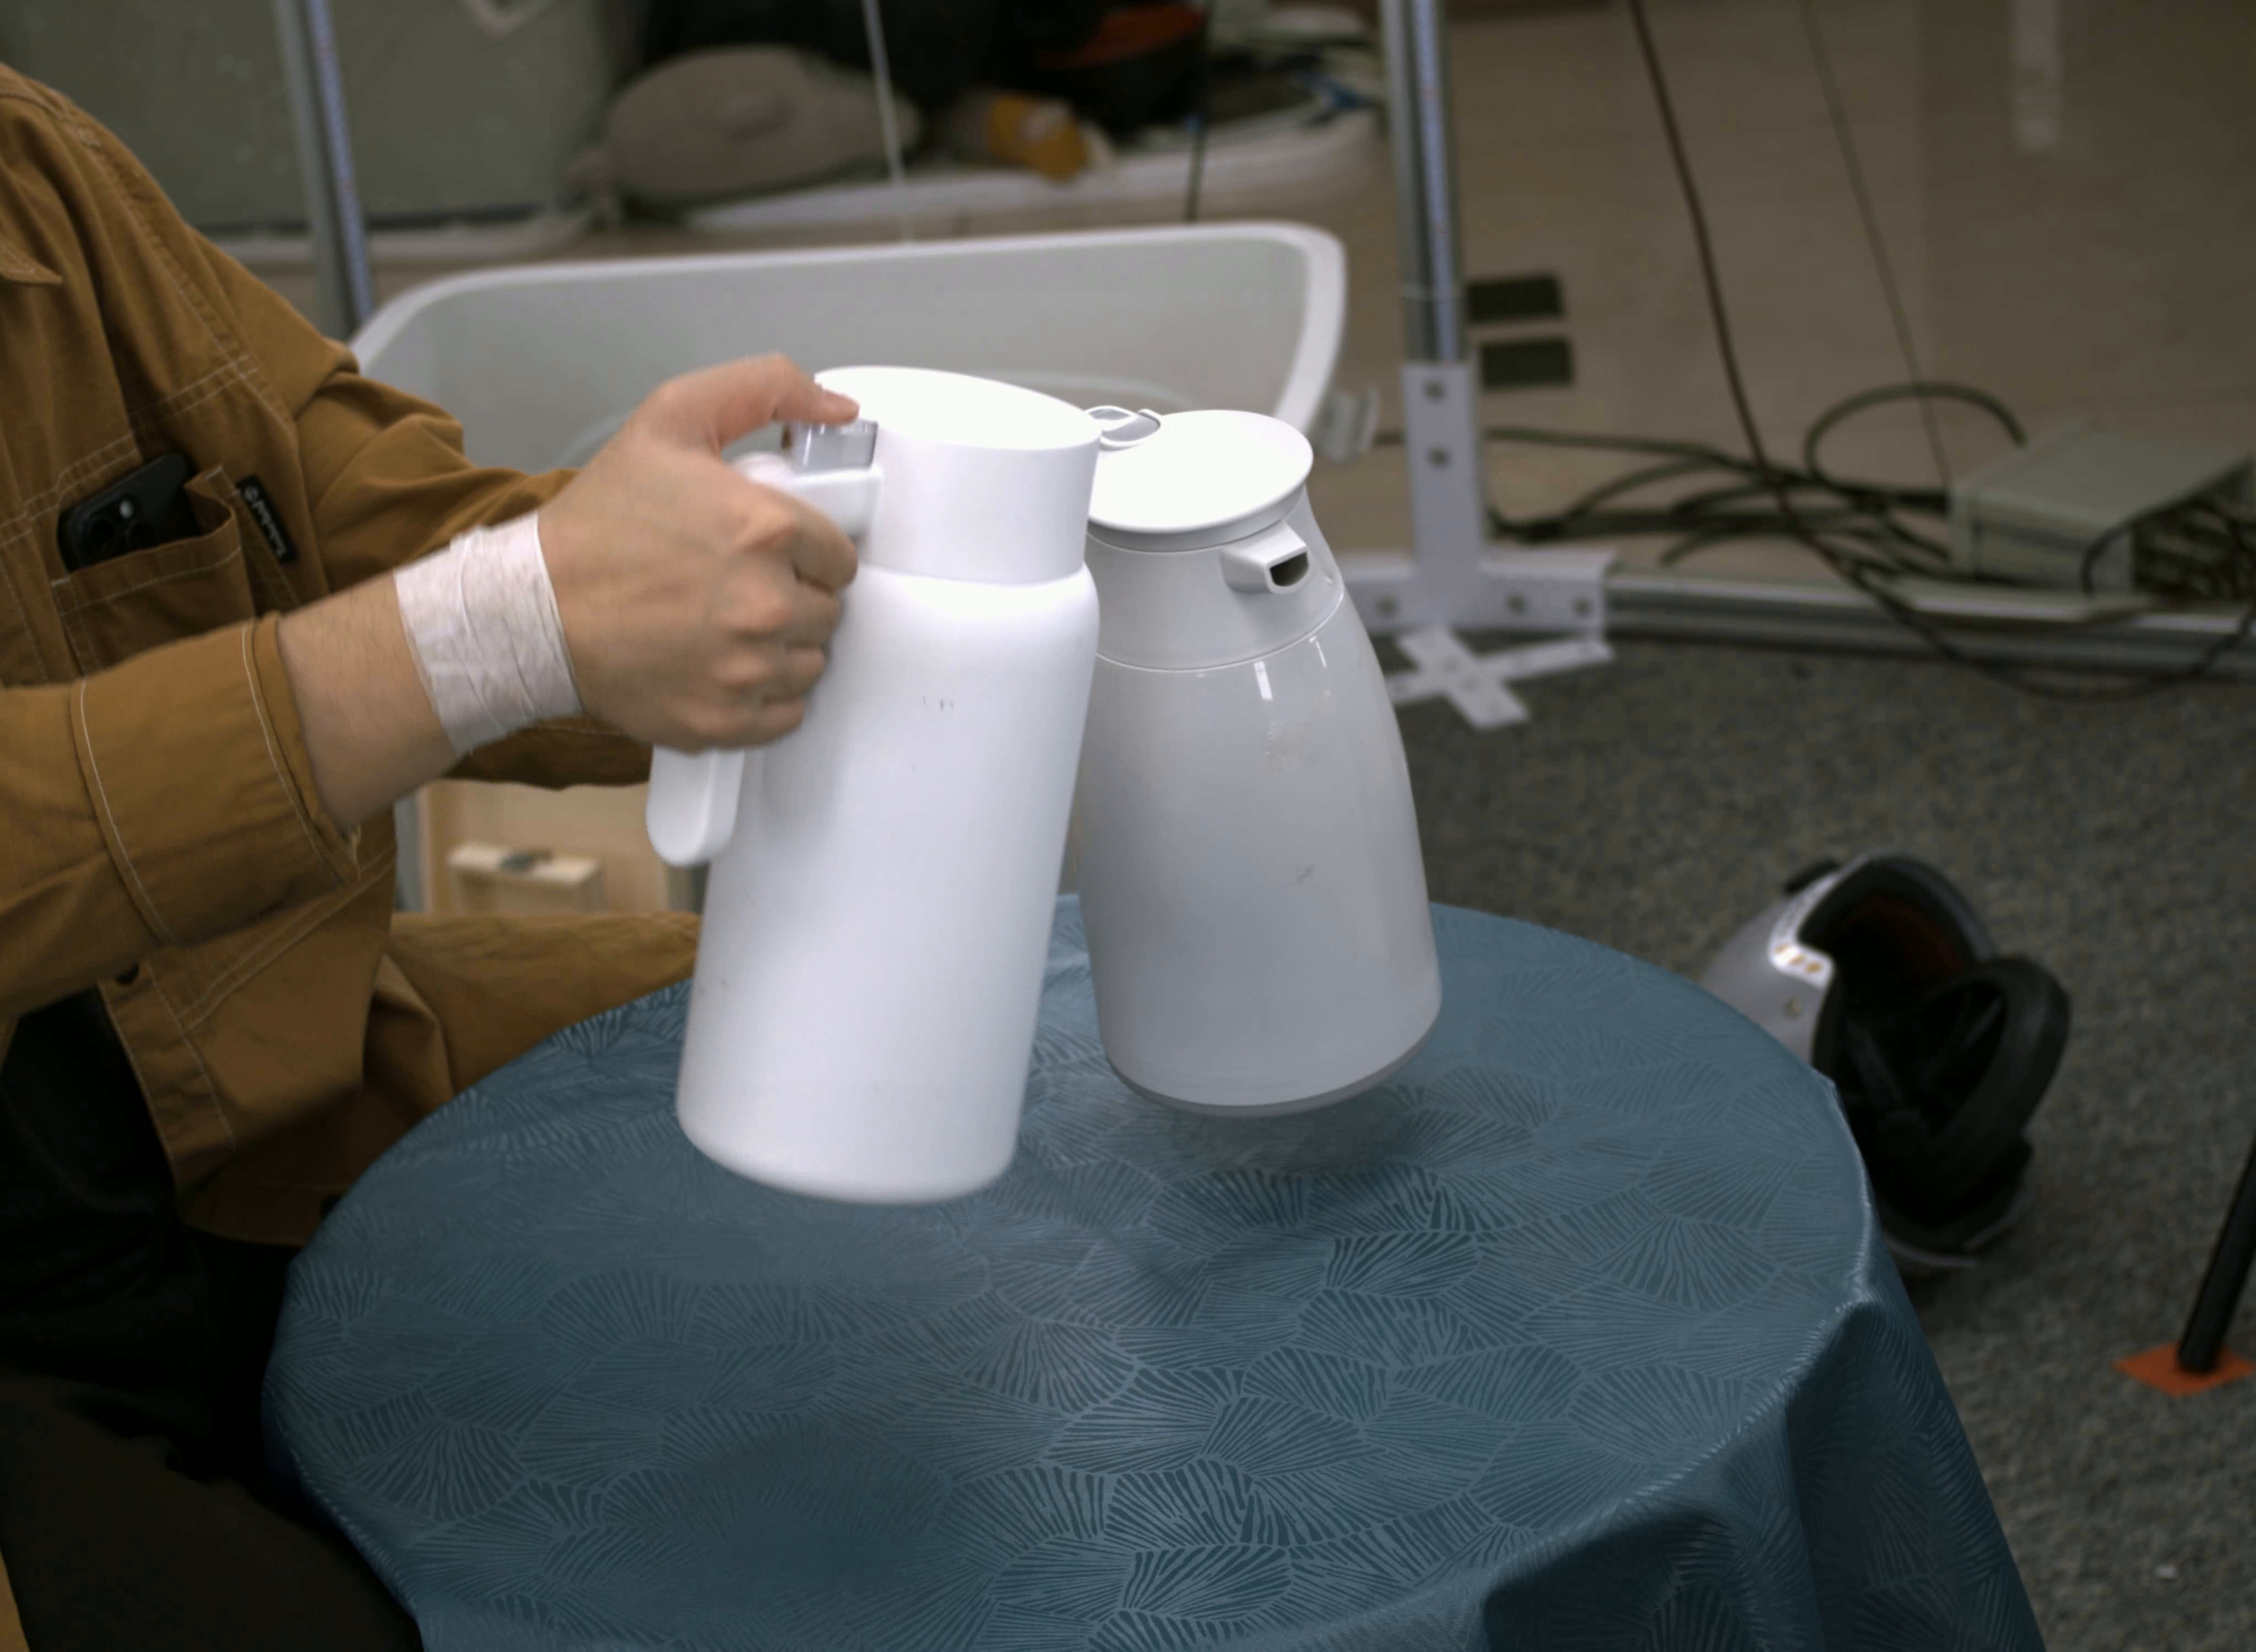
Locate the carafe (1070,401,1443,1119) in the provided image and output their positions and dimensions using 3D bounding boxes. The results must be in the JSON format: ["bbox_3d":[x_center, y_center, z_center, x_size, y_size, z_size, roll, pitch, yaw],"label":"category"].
[{"bbox_3d":[0.027,-0.036,2.113,0.131,0.253,0.166,-26,34,-25],"label":"carafe"}]

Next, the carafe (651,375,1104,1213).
[{"bbox_3d":[-0.087,-0.009,1.889,0.122,0.272,0.172,26,25,36],"label":"carafe"}]
